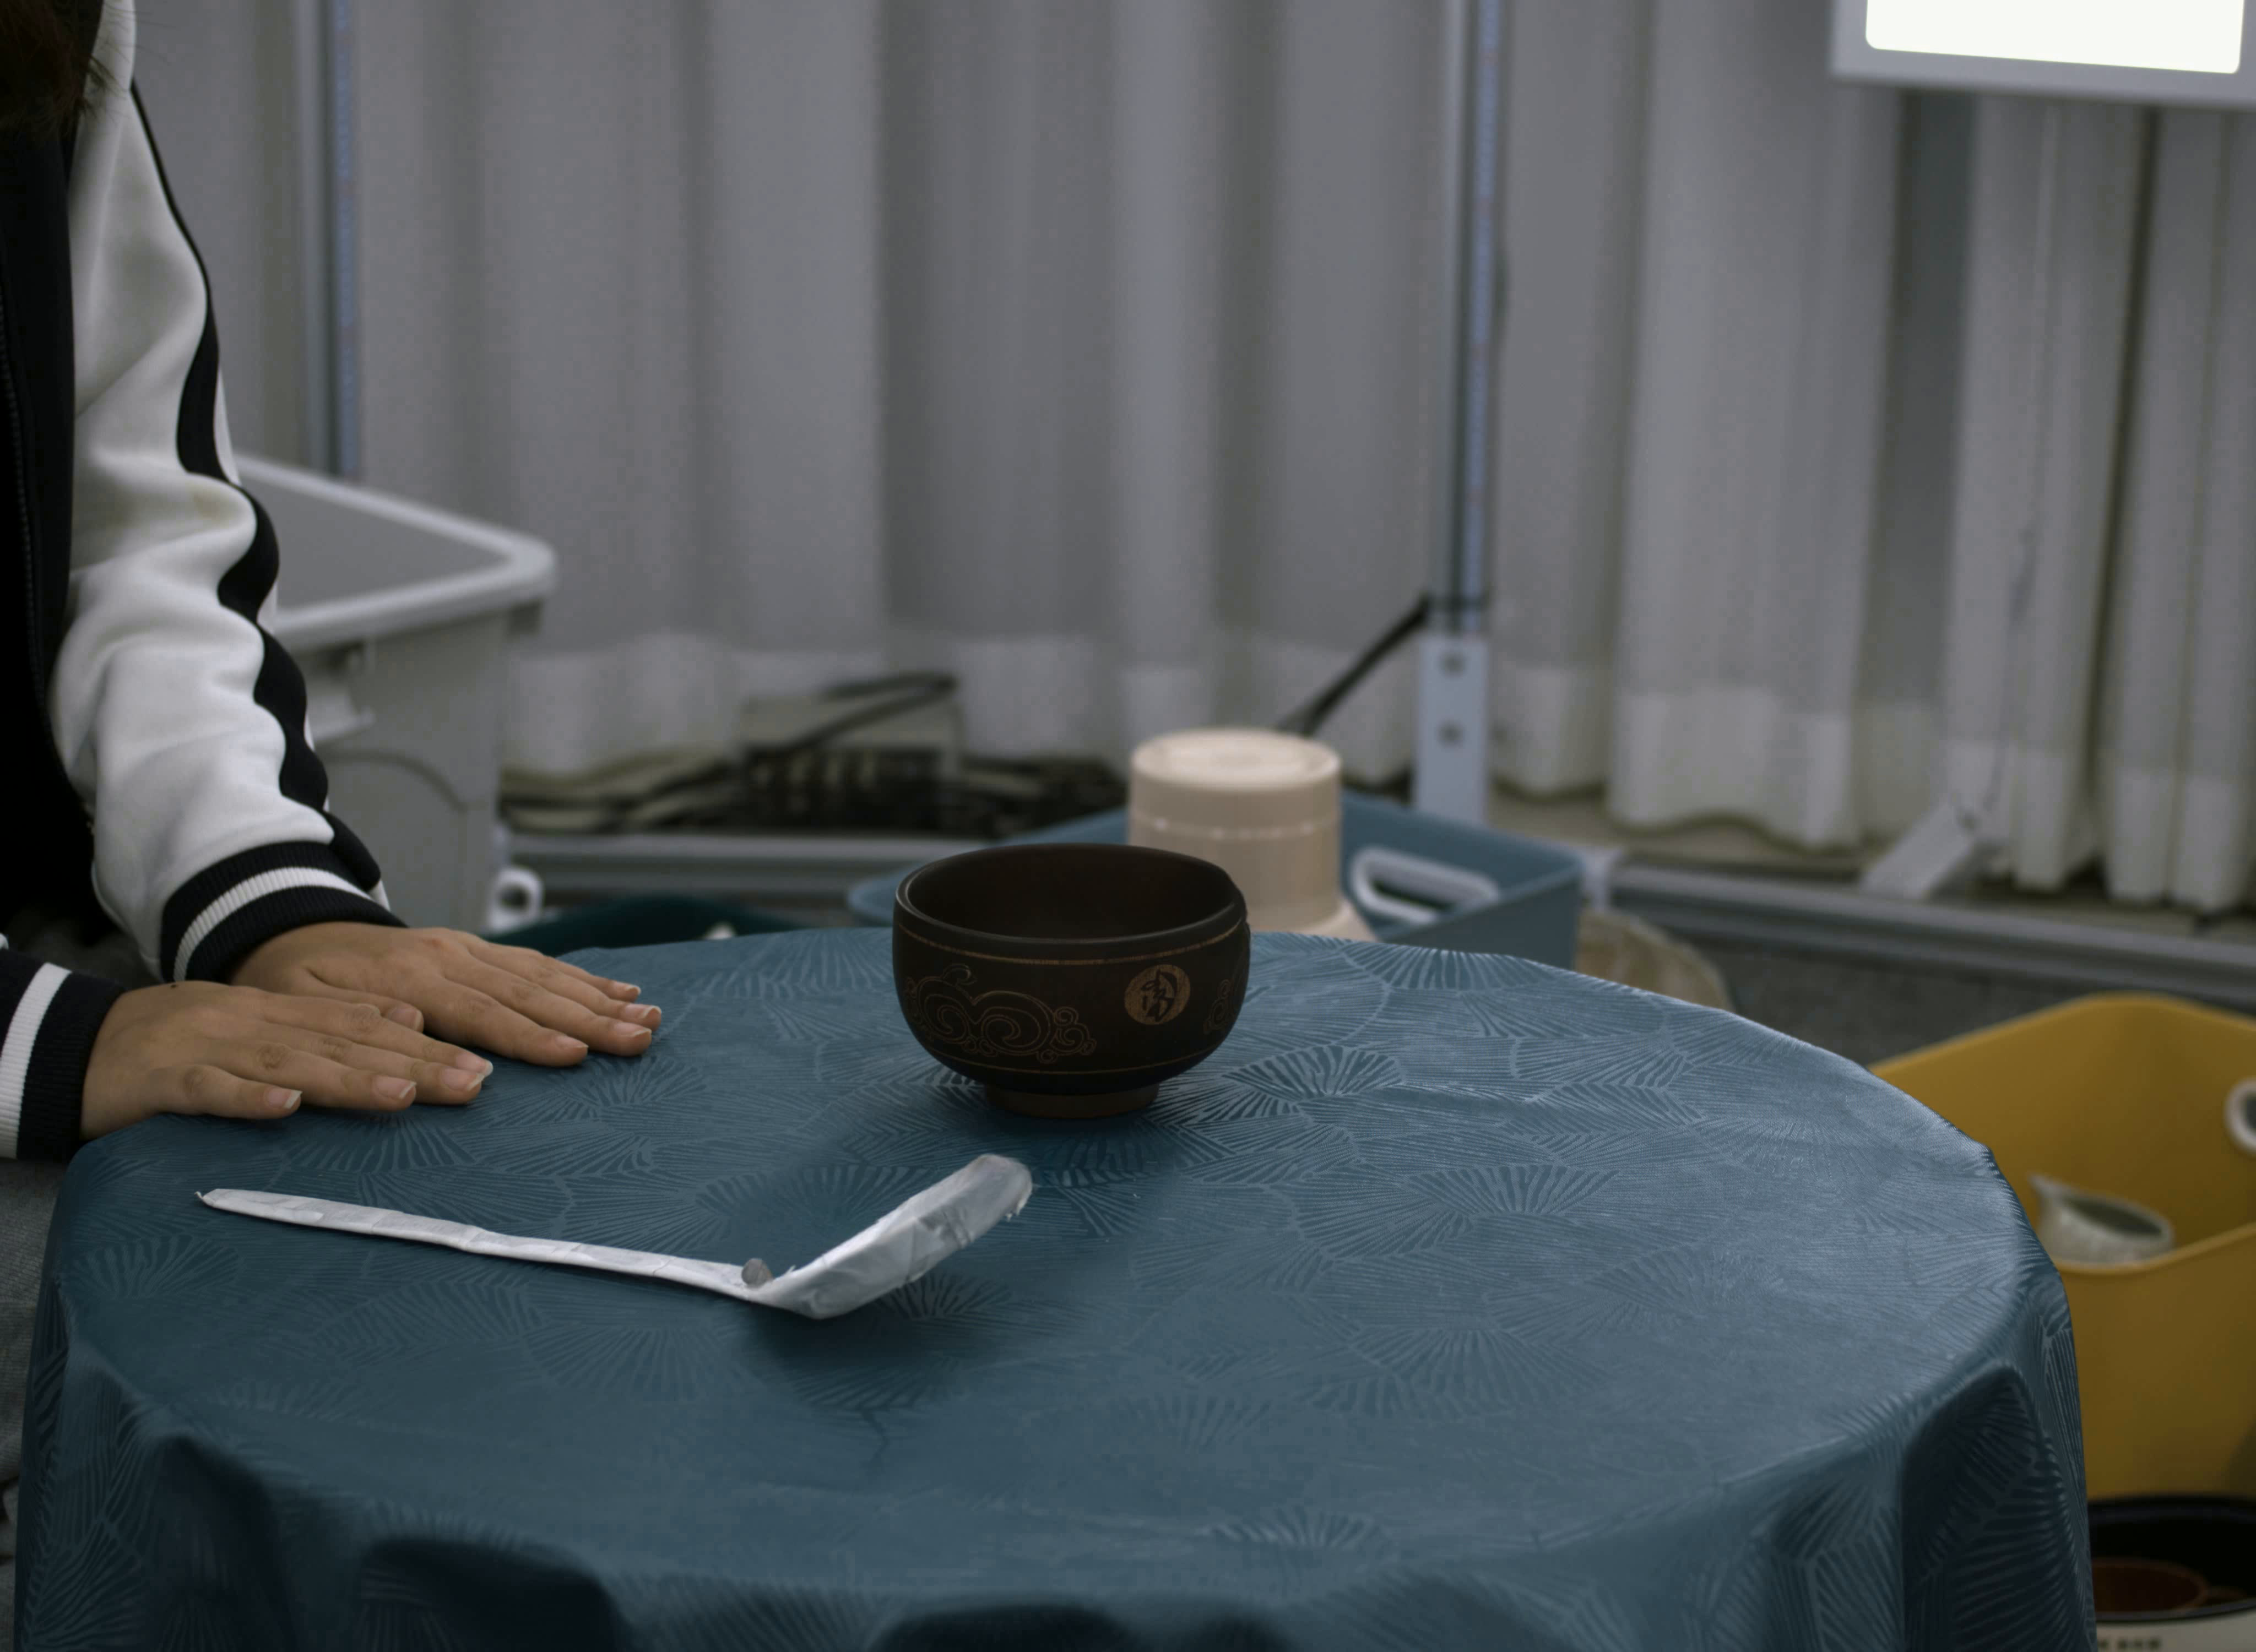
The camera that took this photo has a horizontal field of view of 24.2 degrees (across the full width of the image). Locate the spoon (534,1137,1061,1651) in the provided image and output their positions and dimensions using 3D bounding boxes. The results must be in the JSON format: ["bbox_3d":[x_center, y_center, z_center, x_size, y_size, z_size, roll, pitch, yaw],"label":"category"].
[{"bbox_3d":[-0.115,0.199,1.514,0.059,0.278,0.101,31,-2,6],"label":"spoon"}]

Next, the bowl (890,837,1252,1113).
[{"bbox_3d":[-0.019,0.052,1.703,0.117,0.070,0.117,1,15,0],"label":"bowl"}]
